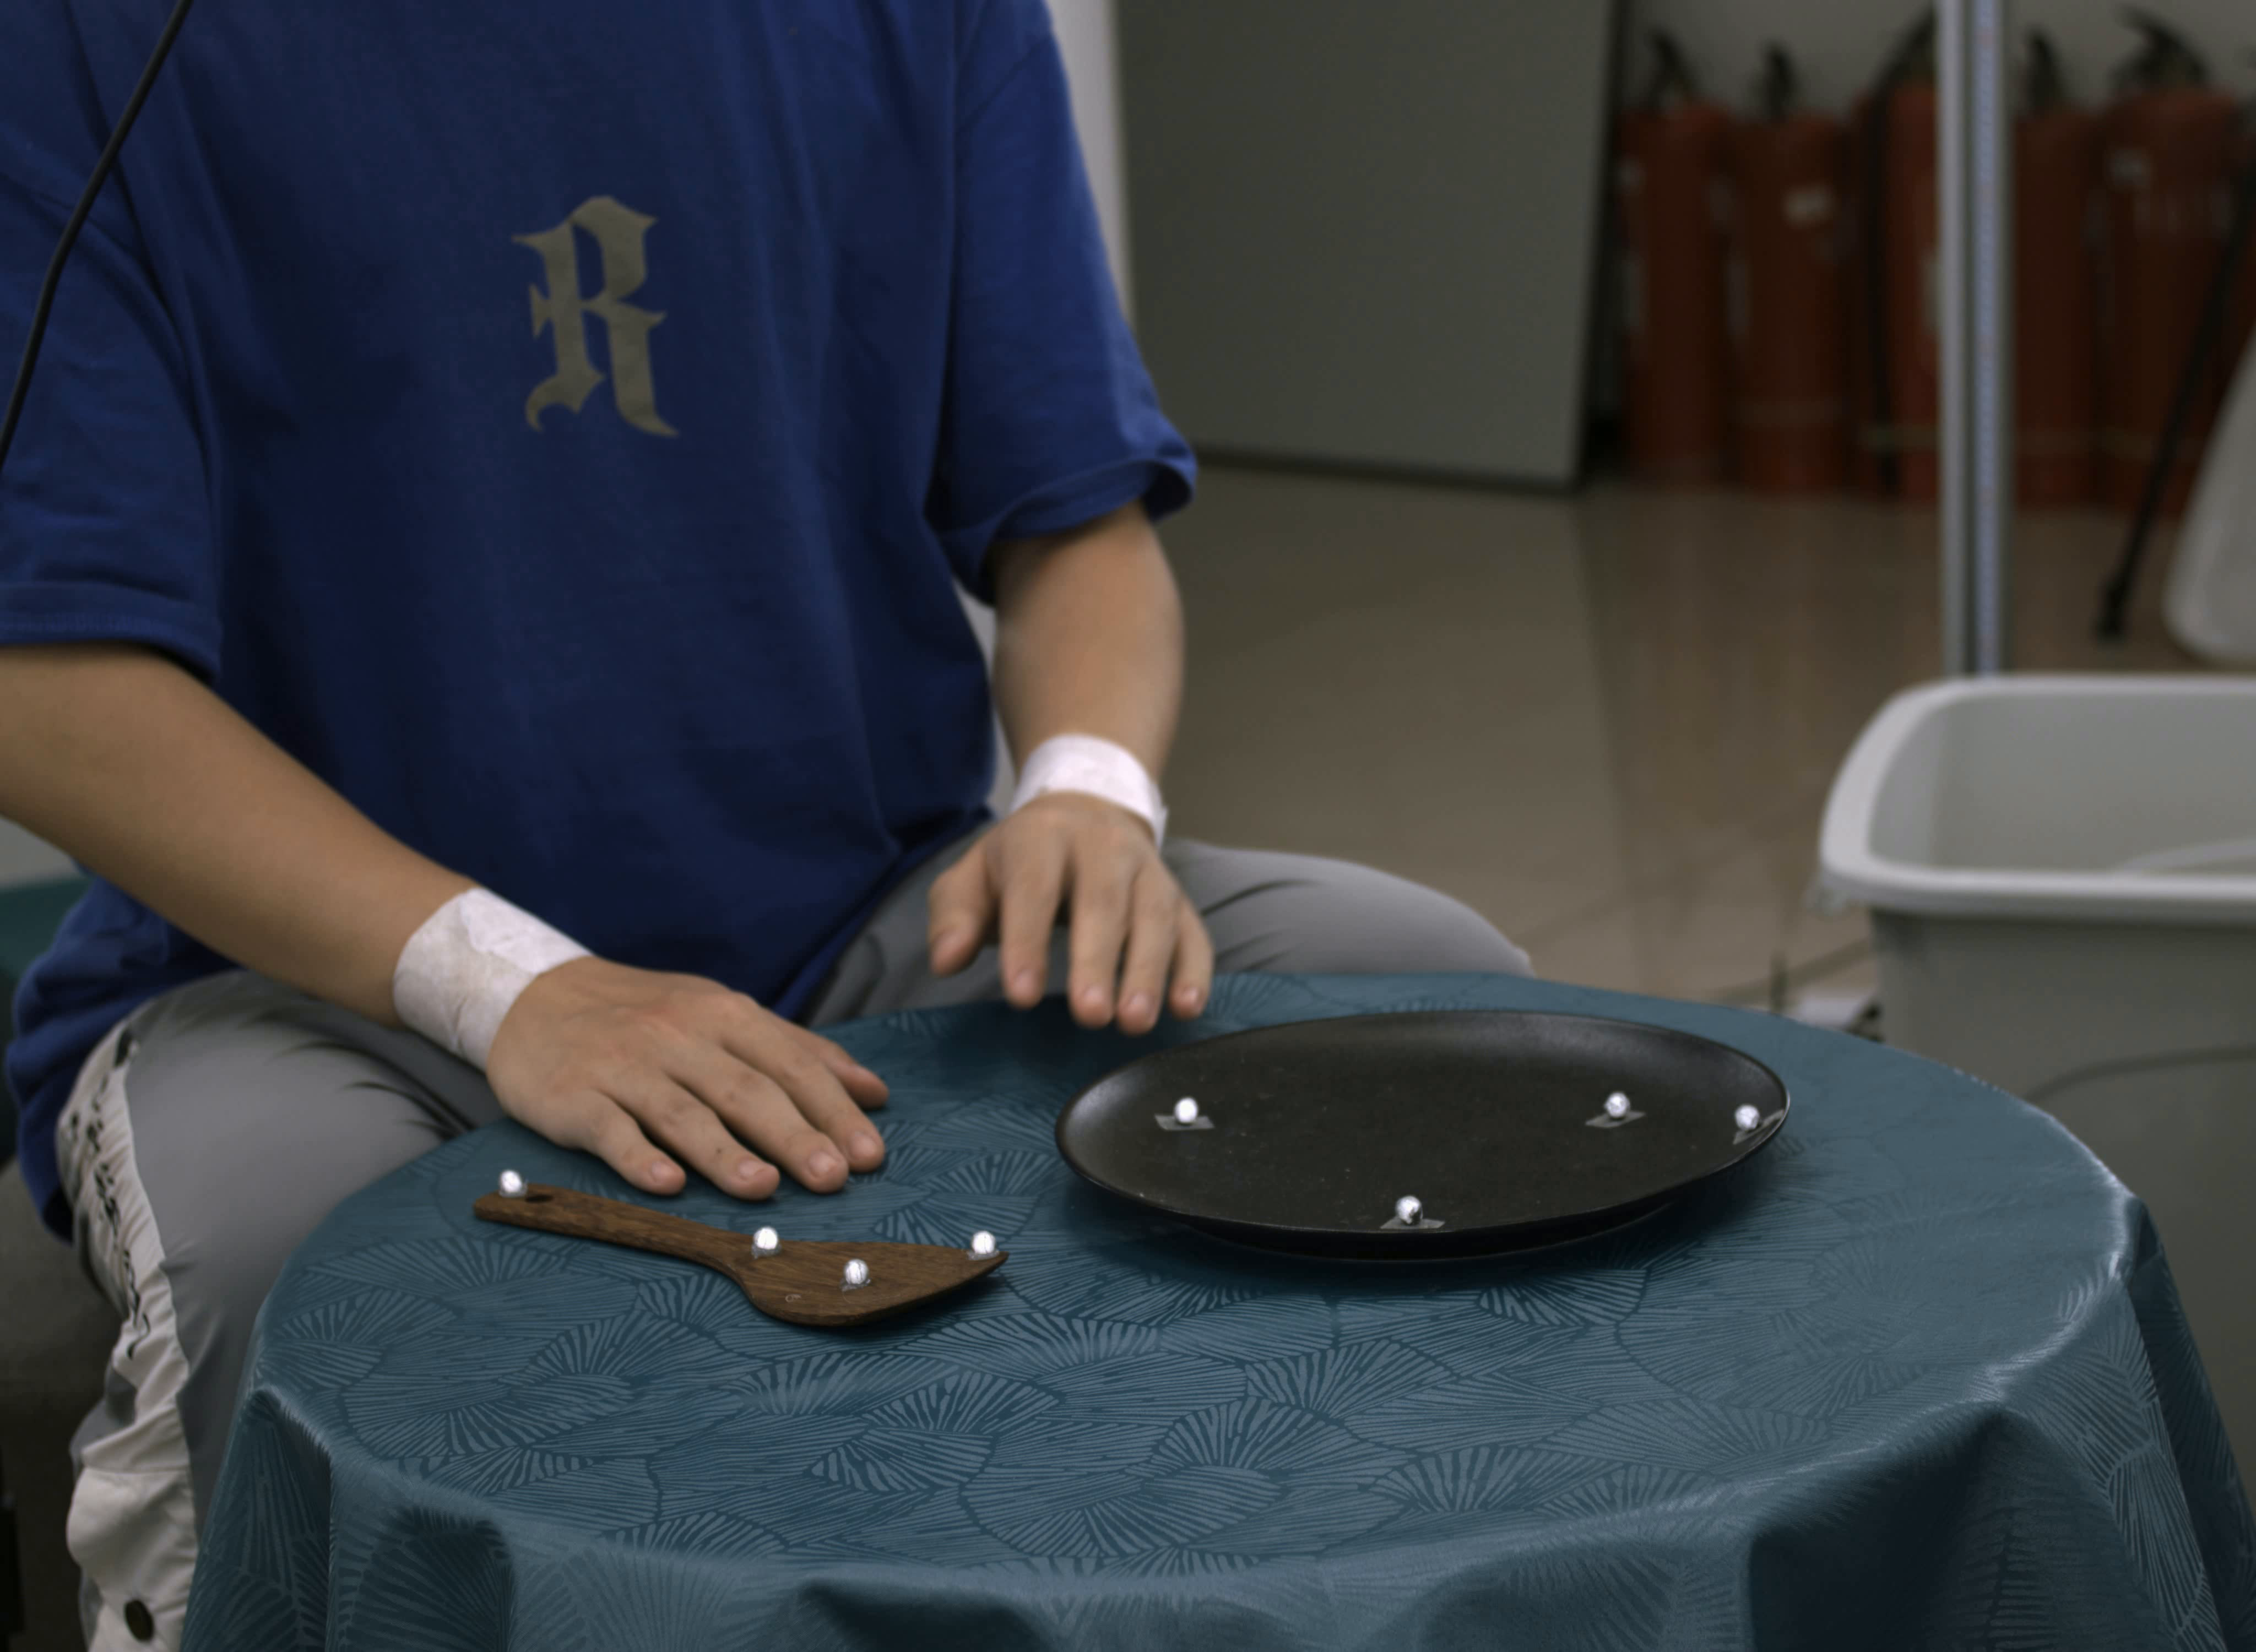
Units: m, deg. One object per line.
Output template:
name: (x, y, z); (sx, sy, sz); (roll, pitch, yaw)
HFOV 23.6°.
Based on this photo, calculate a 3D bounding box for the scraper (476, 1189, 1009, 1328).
scraper: (-0.132, 0.136, 1.731); (0.213, 0.011, 0.074); (8, 17, 42)

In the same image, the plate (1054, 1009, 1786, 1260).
plate: (0.096, 0.103, 1.767); (0.241, 0.024, 0.245); (-4, 14, 0)
